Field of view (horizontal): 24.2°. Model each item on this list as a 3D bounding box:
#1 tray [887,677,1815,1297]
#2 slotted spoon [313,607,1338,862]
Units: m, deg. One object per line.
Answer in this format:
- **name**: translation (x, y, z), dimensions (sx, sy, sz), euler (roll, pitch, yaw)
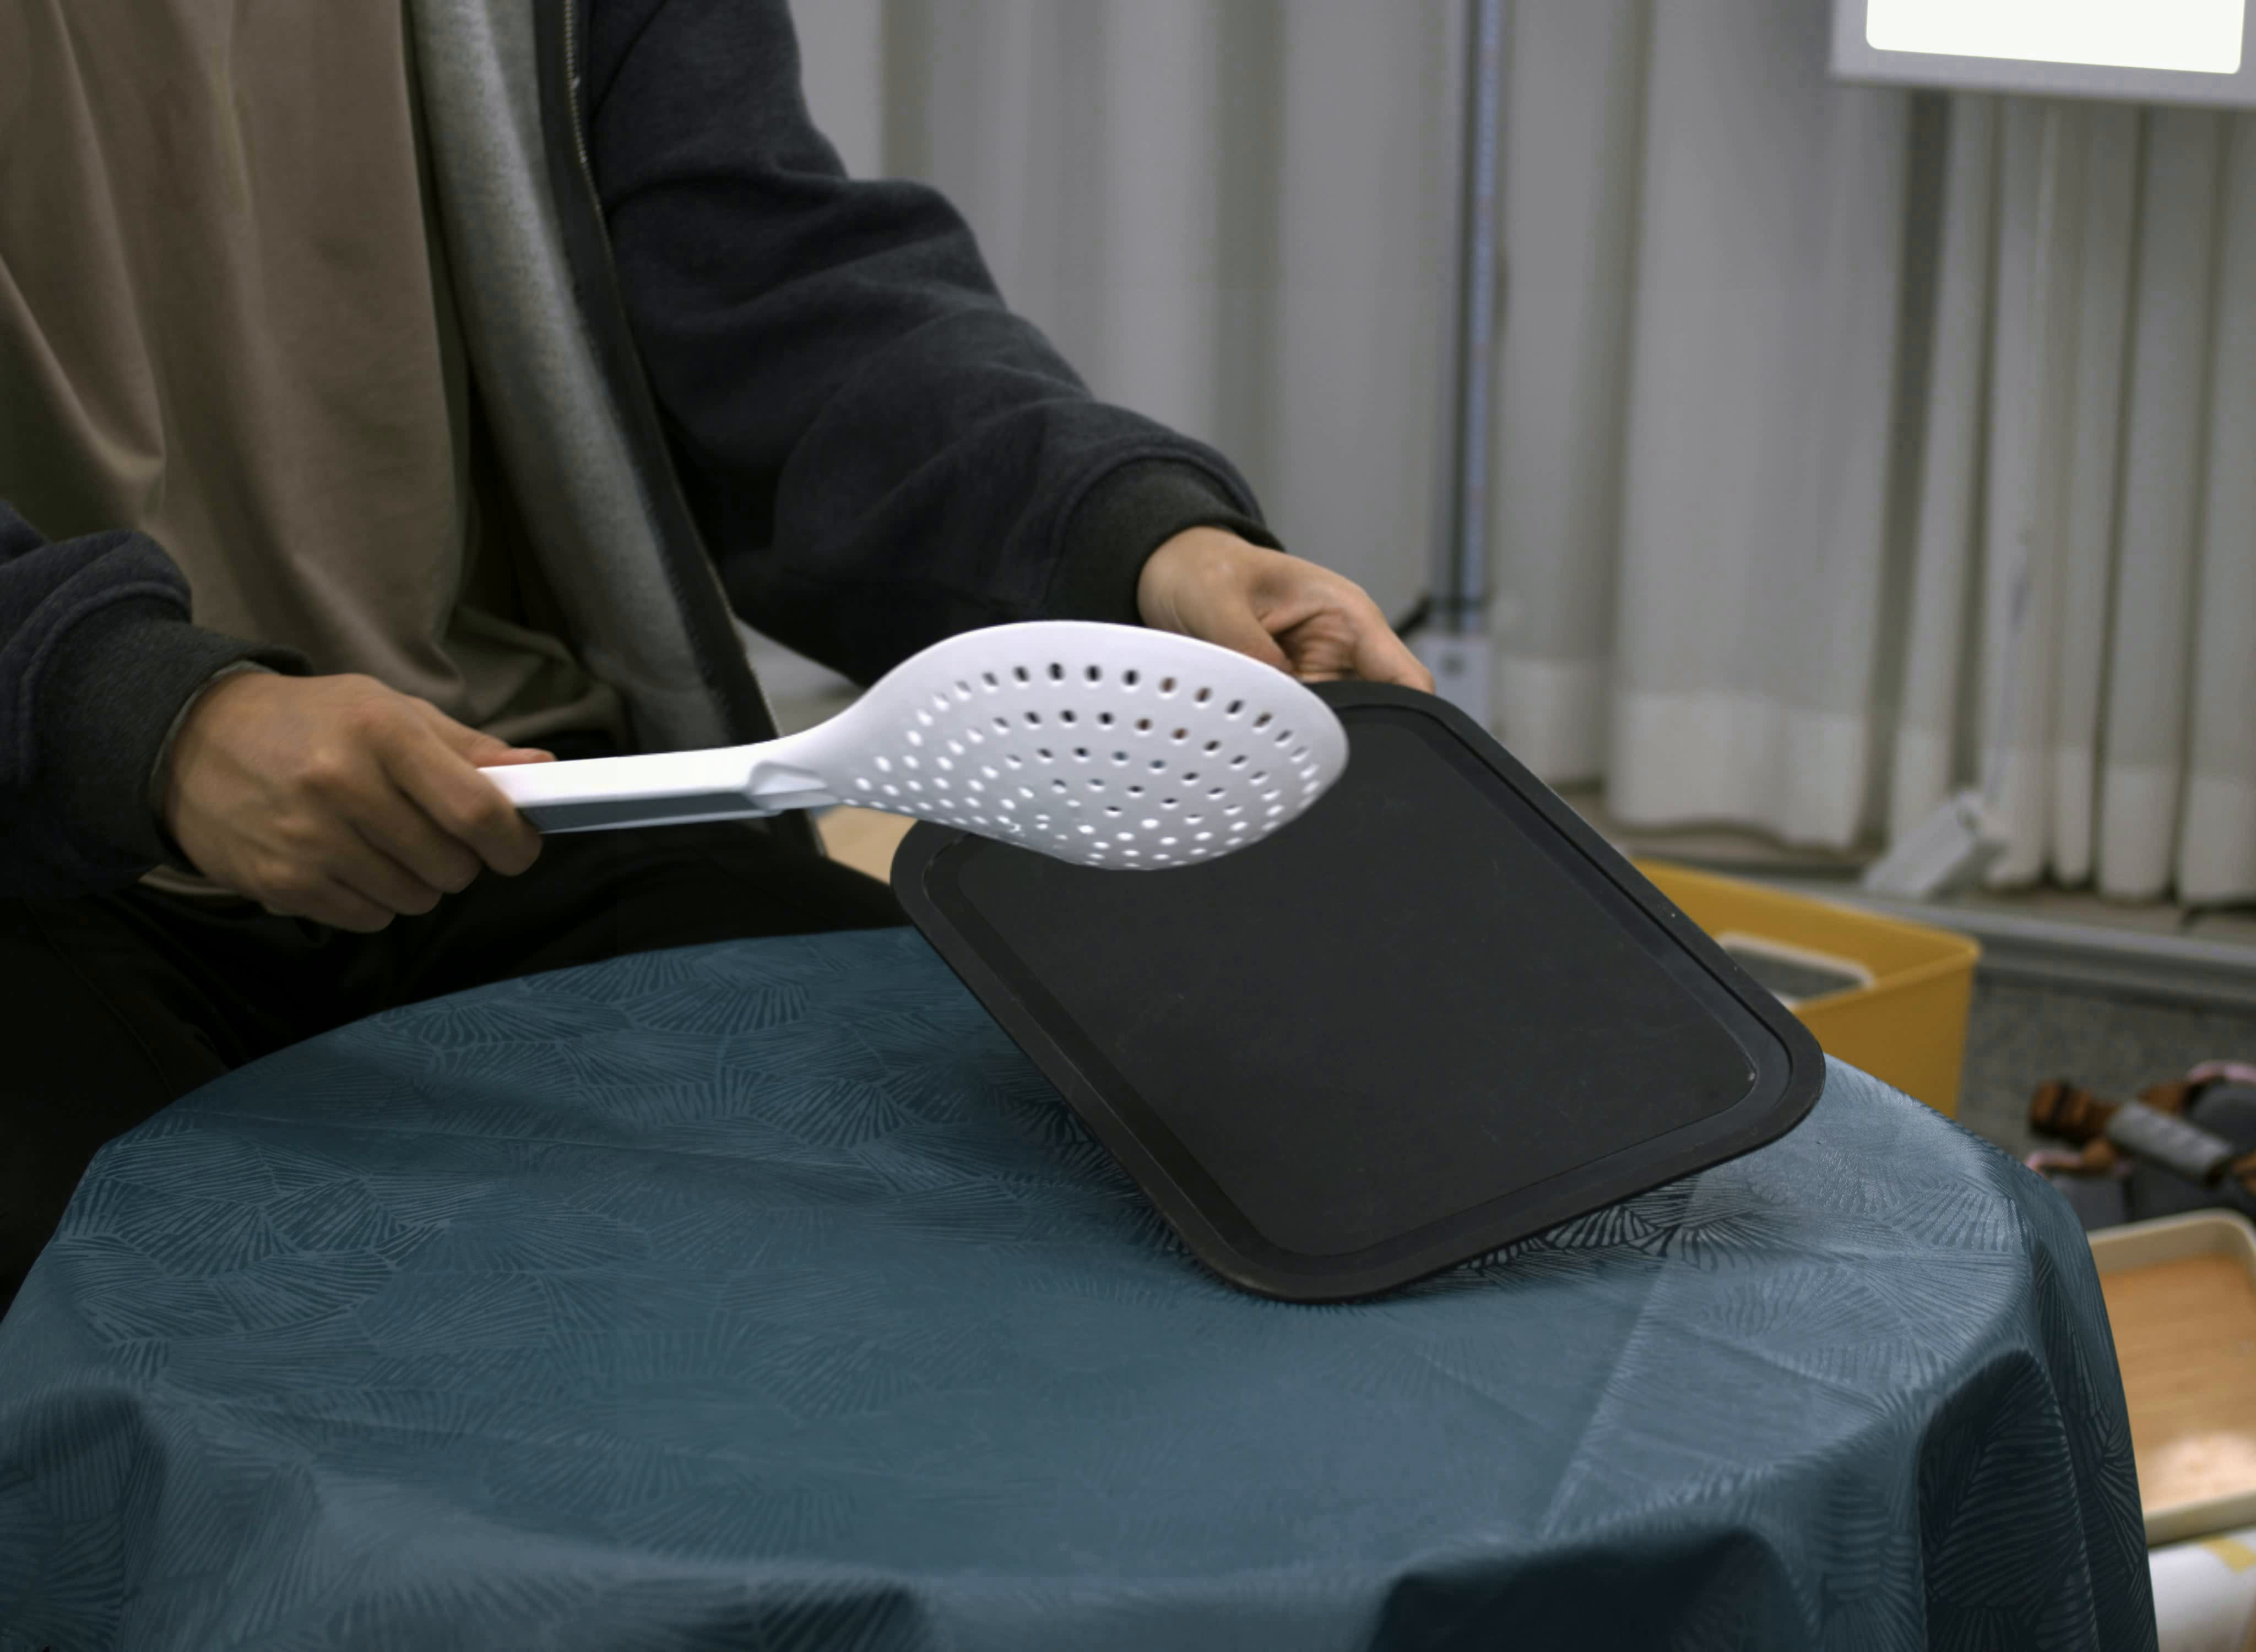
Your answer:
- **tray**: translation (0.060, 0.039, 1.670), dimensions (0.211, 0.010, 0.321), euler (-19, 36, -19)
- **slotted spoon**: translation (-0.101, -0.017, 1.602), dimensions (0.346, 0.045, 0.138), euler (0, -25, 28)
